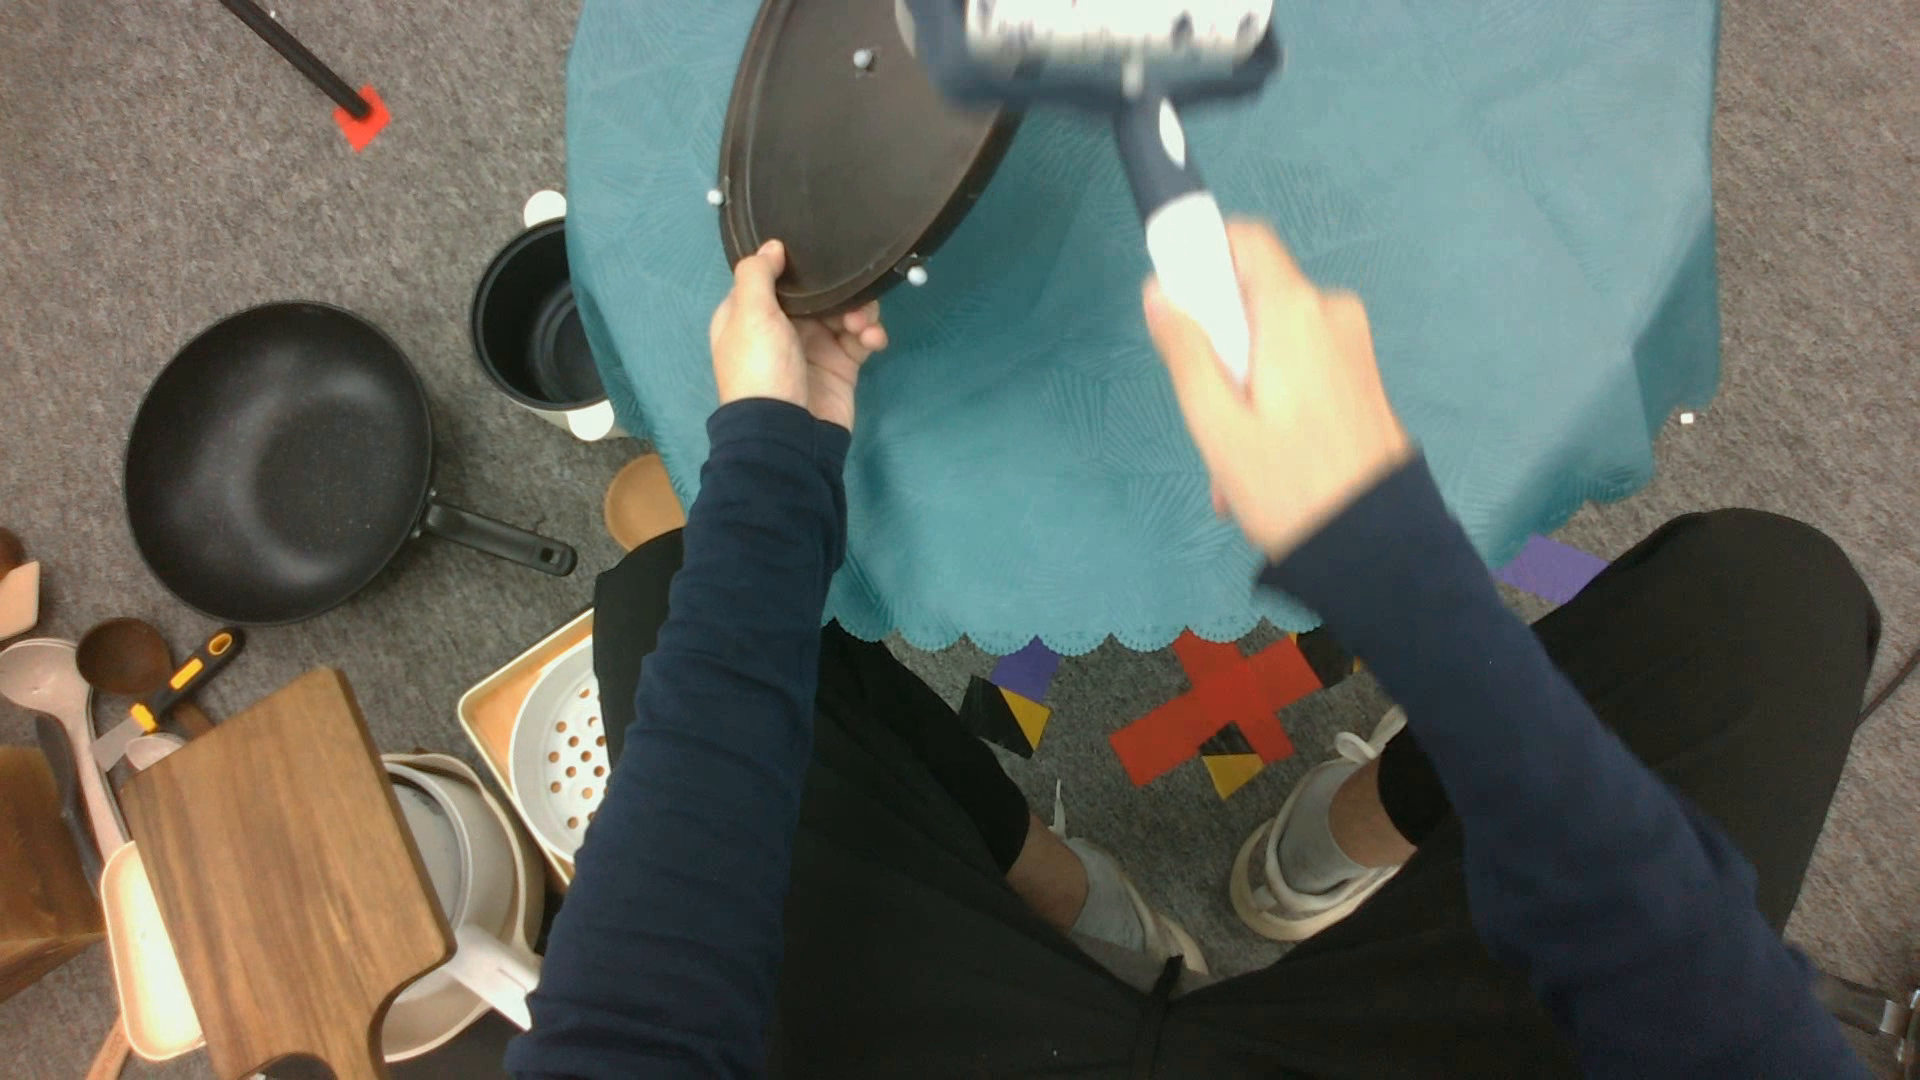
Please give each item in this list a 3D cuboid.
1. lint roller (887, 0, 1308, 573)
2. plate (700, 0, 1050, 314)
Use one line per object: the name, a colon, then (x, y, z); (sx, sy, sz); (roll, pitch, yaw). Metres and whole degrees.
lint roller: (0.085, -0.107, 0.526); (0.177, 0.050, 0.247); (-17, 81, -39)
plate: (-0.047, -0.228, 0.651); (0.254, 0.029, 0.255); (-18, 66, 46)
